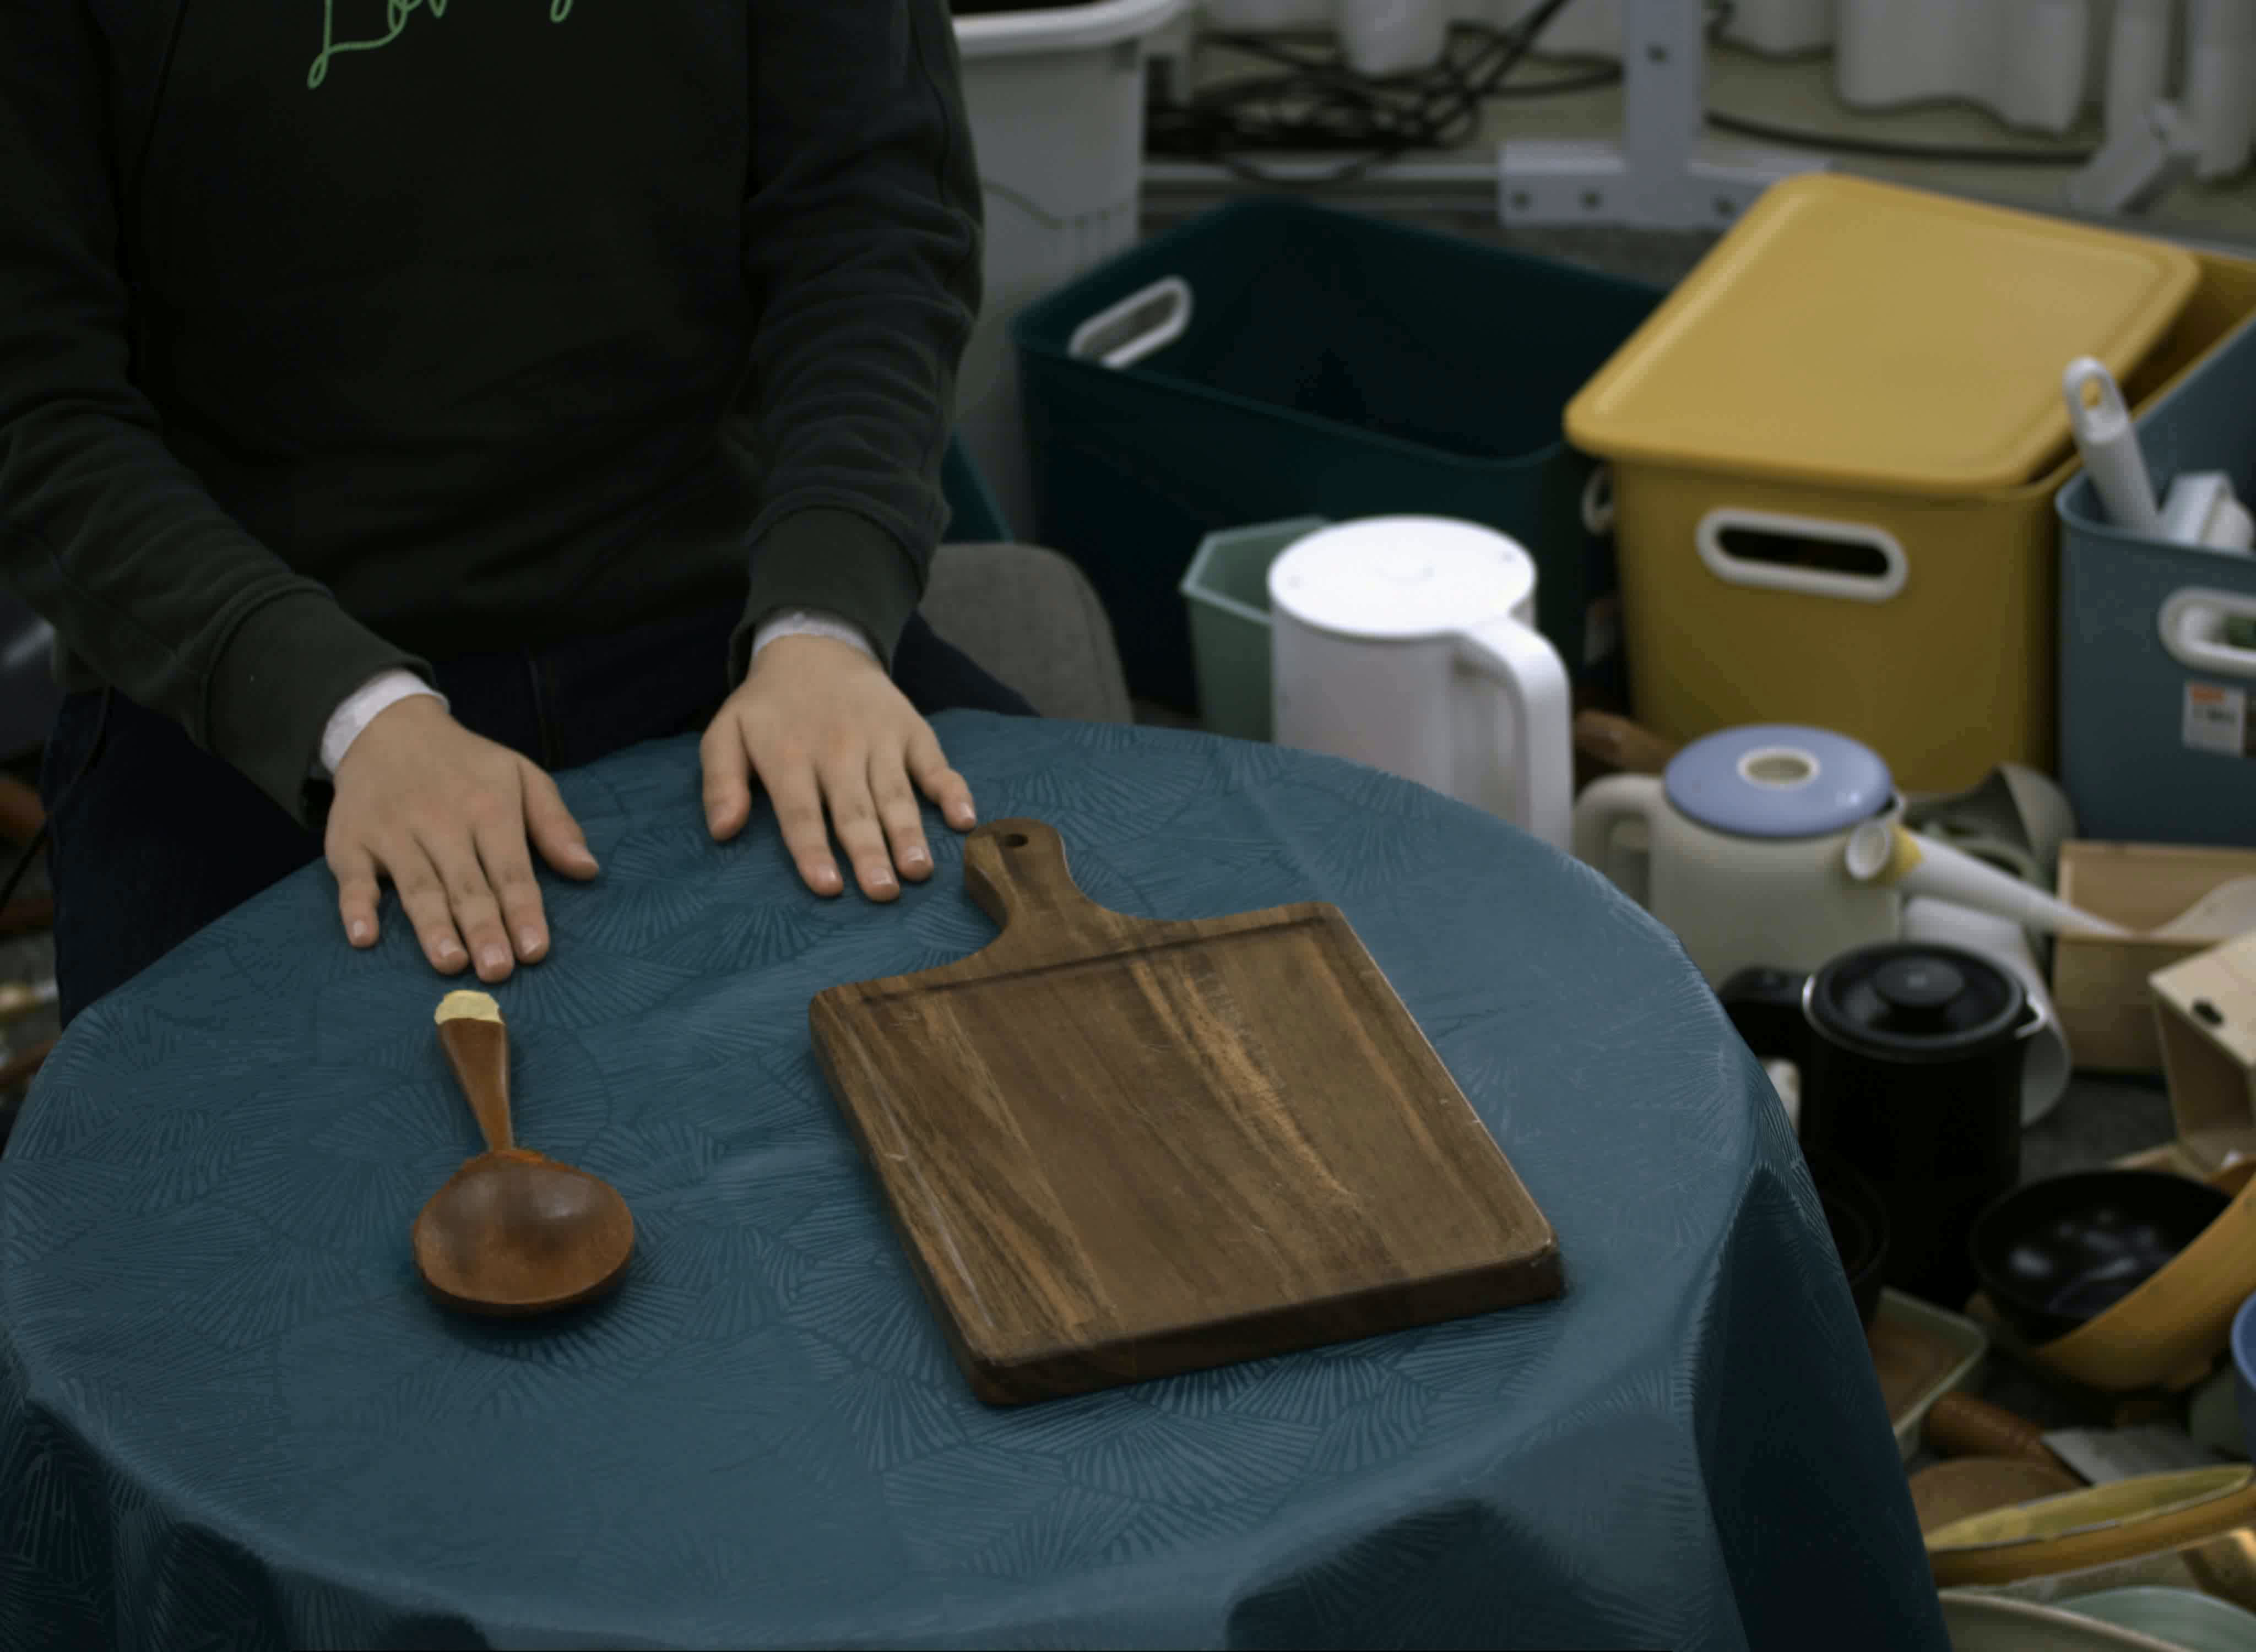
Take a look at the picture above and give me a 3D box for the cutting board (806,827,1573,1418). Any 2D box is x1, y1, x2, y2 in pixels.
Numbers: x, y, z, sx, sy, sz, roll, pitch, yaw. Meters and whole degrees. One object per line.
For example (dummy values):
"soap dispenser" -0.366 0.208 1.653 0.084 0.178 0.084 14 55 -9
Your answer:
"cutting board" 0.002 0.084 1.915 0.201 0.023 0.355 -11 28 -12

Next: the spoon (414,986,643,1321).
"spoon" -0.209 0.110 1.885 0.075 0.017 0.218 -10 28 -9
